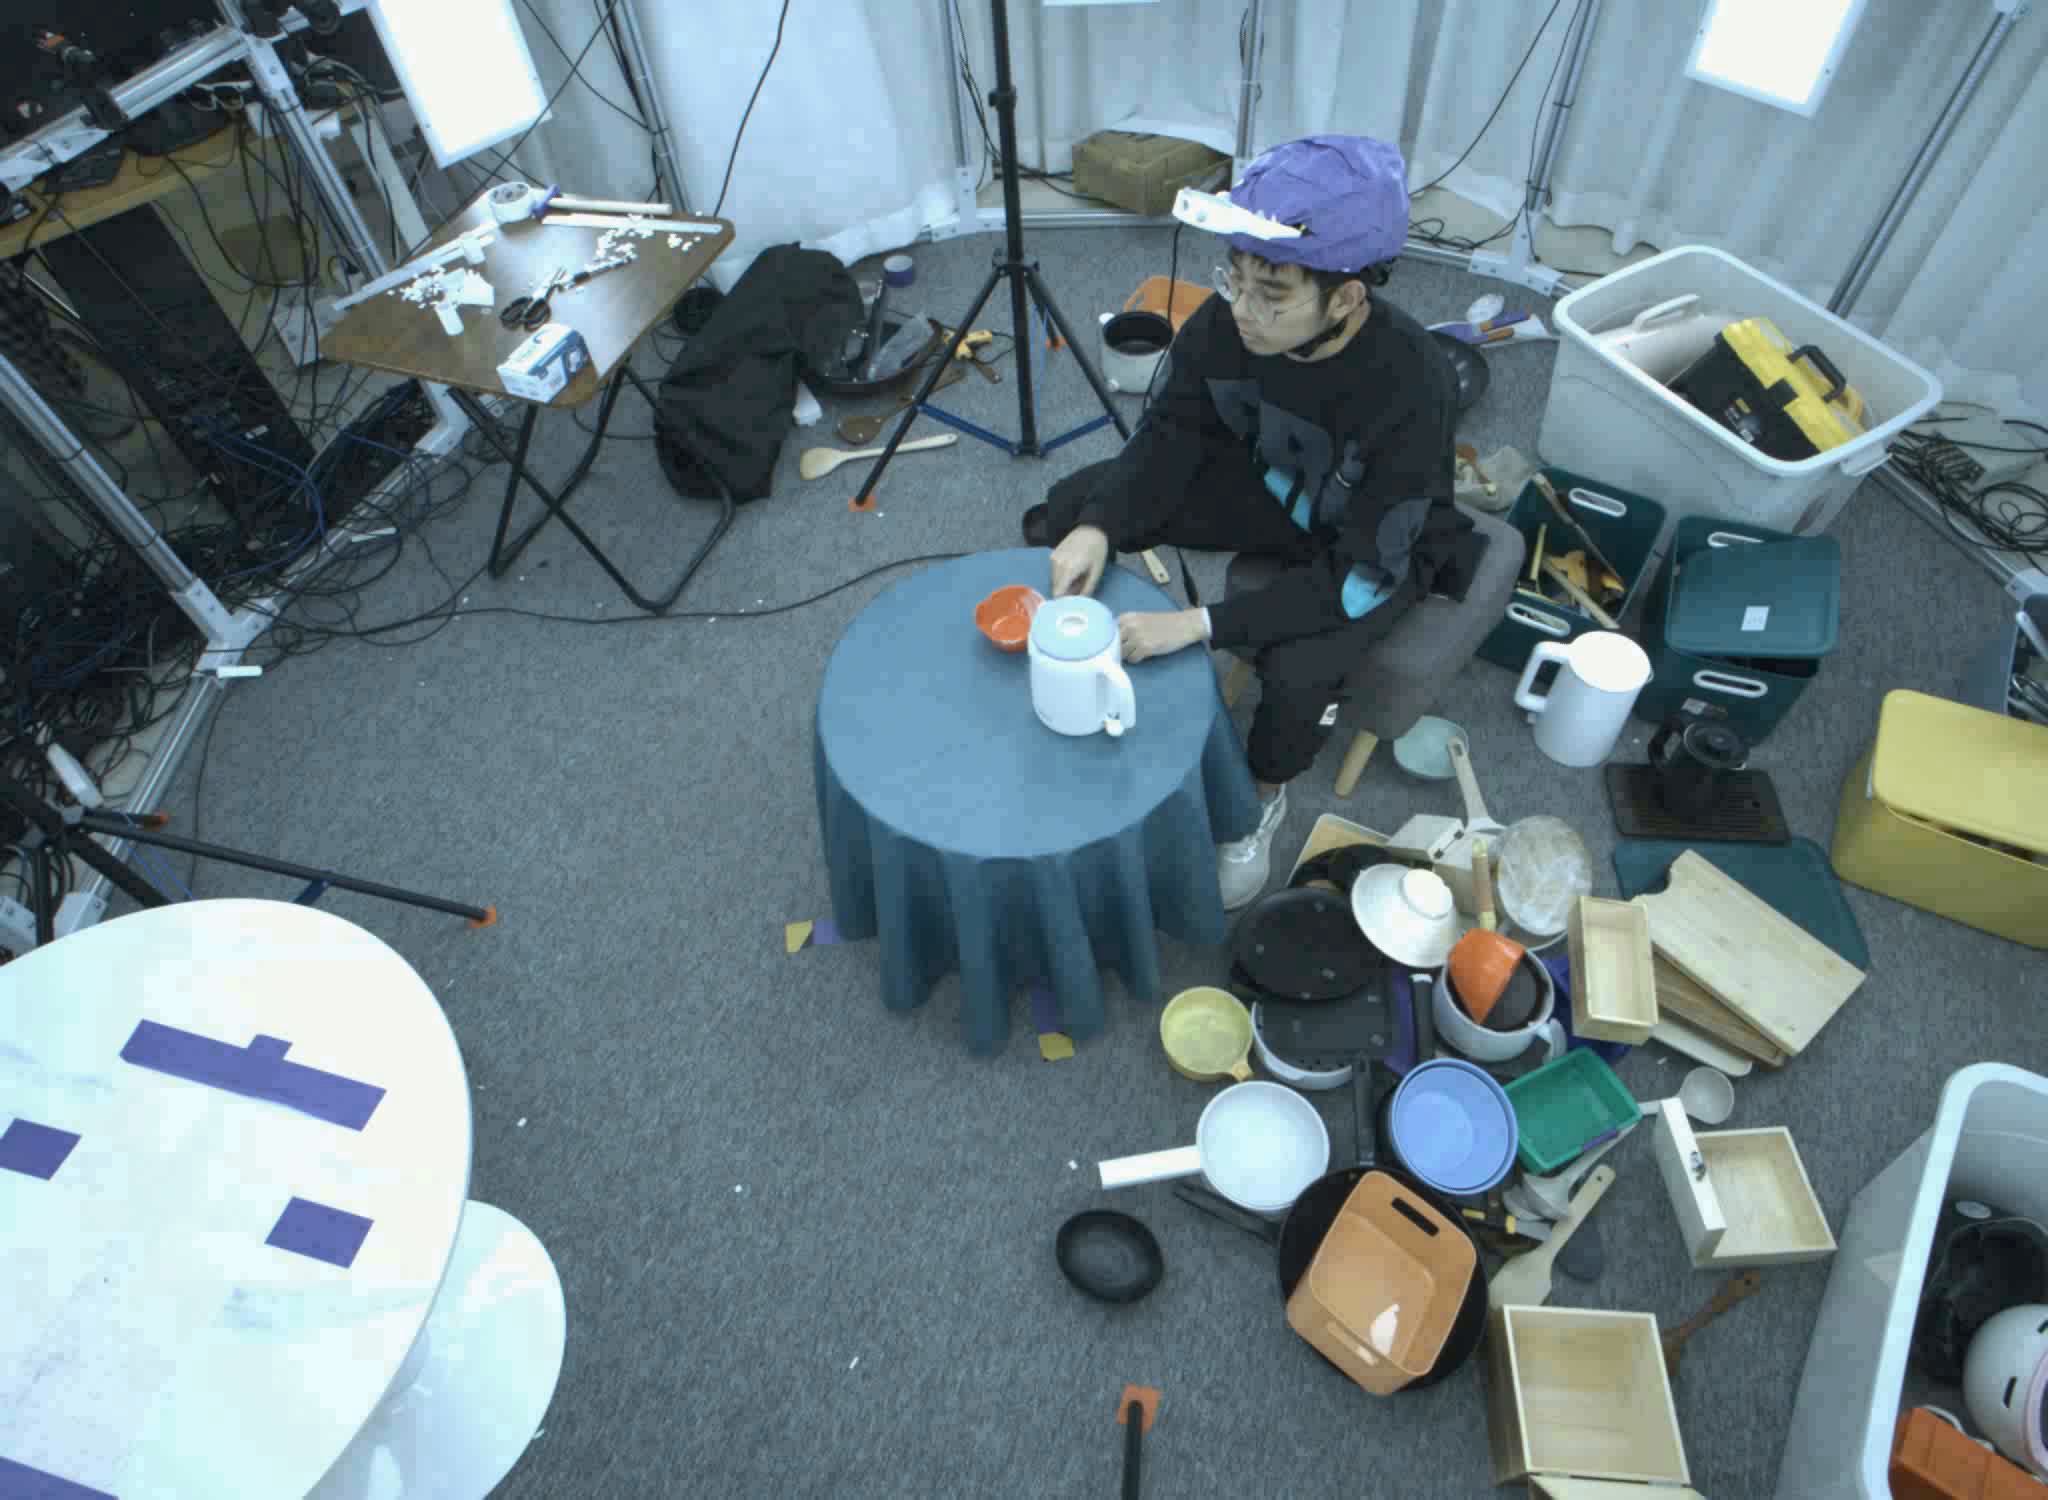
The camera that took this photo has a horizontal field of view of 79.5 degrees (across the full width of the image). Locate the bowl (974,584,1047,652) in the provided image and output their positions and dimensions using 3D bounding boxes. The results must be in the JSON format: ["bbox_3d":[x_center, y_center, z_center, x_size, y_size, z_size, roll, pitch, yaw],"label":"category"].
[{"bbox_3d":[-0.015,-0.196,1.889,0.118,0.052,0.117,-2,54,5],"label":"bowl"}]

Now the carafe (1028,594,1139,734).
[{"bbox_3d":[0.091,-0.107,1.751,0.133,0.184,0.188,-39,64,-21],"label":"carafe"}]
